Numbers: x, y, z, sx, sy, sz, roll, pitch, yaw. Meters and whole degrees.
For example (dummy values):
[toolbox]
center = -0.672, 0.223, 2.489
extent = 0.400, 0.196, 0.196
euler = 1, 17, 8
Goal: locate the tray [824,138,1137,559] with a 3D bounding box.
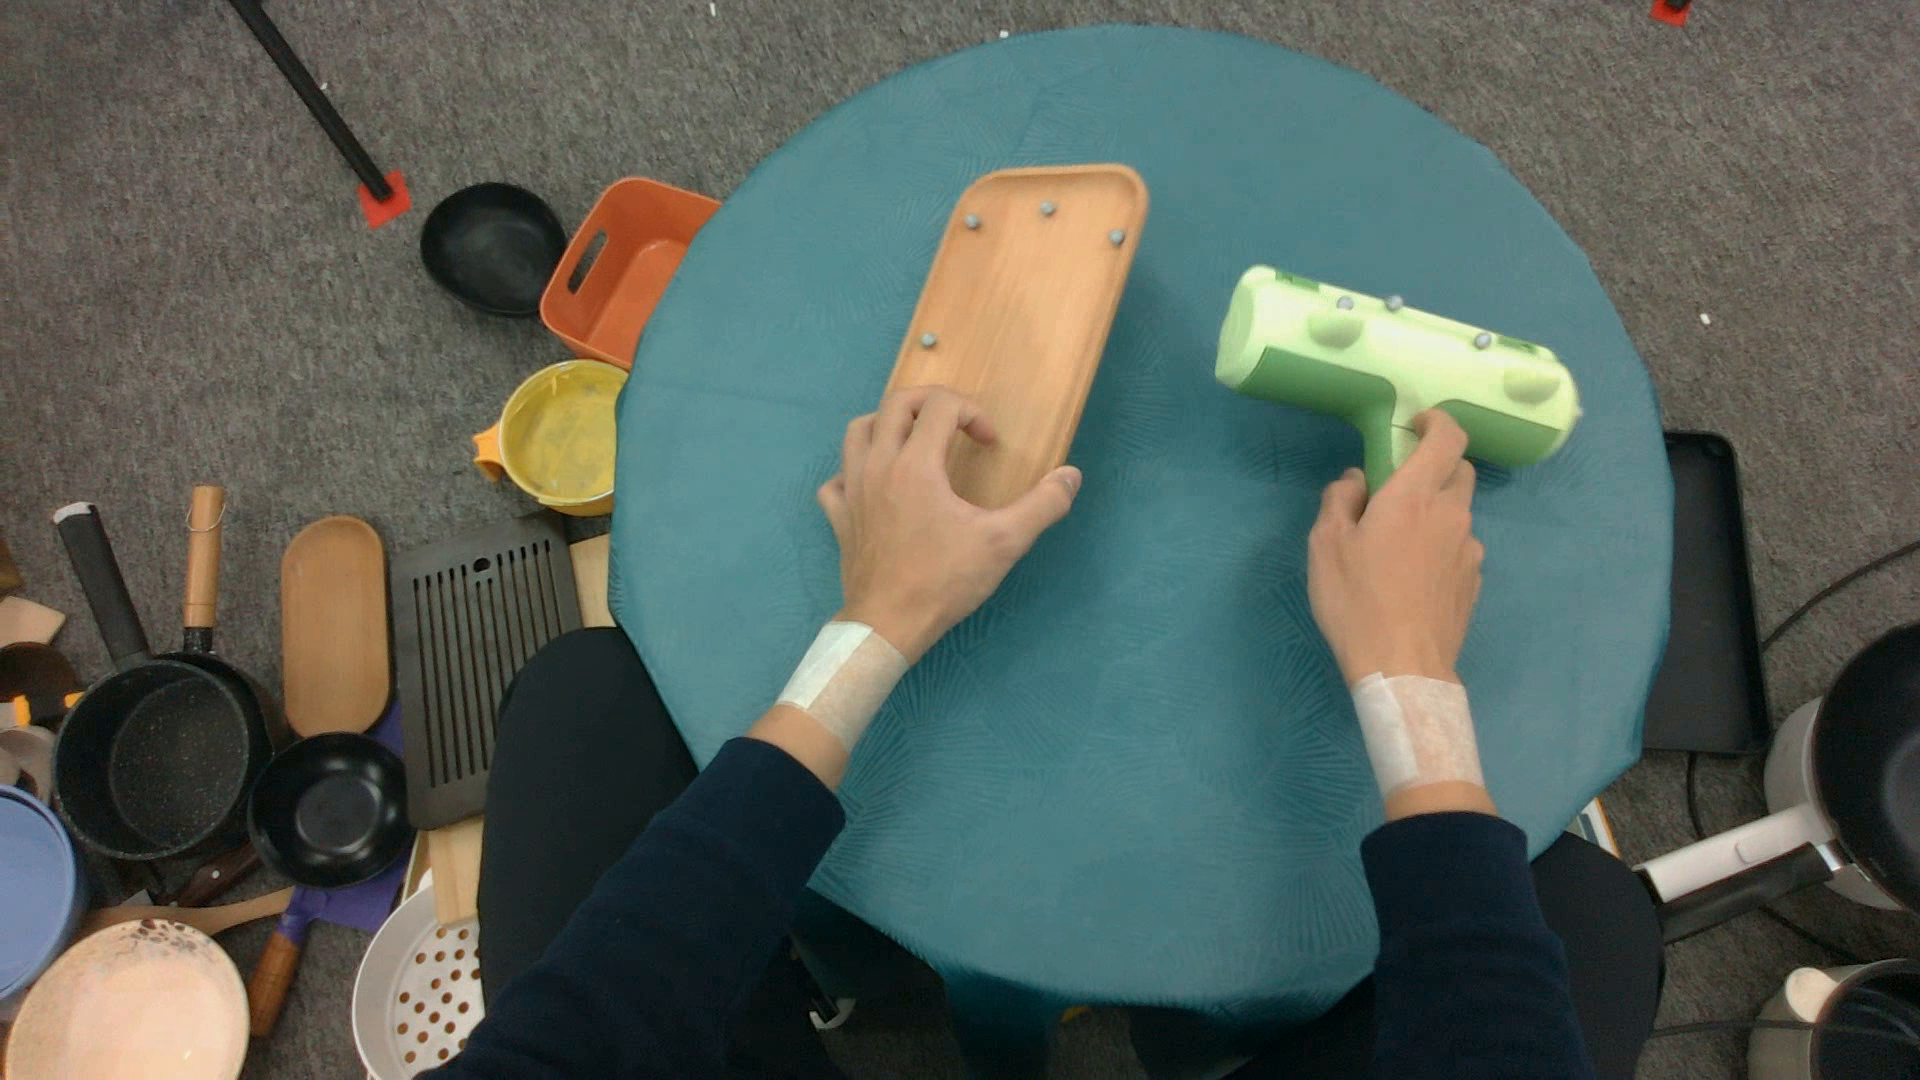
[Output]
[tray]
center = 0.012, -0.107, 0.742
extent = 0.130, 0.023, 0.251
euler = 6, 70, 41

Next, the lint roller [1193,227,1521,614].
[lint roller]
center = 0.218, -0.059, 0.692
extent = 0.199, 0.082, 0.184
euler = 11, 59, -27
